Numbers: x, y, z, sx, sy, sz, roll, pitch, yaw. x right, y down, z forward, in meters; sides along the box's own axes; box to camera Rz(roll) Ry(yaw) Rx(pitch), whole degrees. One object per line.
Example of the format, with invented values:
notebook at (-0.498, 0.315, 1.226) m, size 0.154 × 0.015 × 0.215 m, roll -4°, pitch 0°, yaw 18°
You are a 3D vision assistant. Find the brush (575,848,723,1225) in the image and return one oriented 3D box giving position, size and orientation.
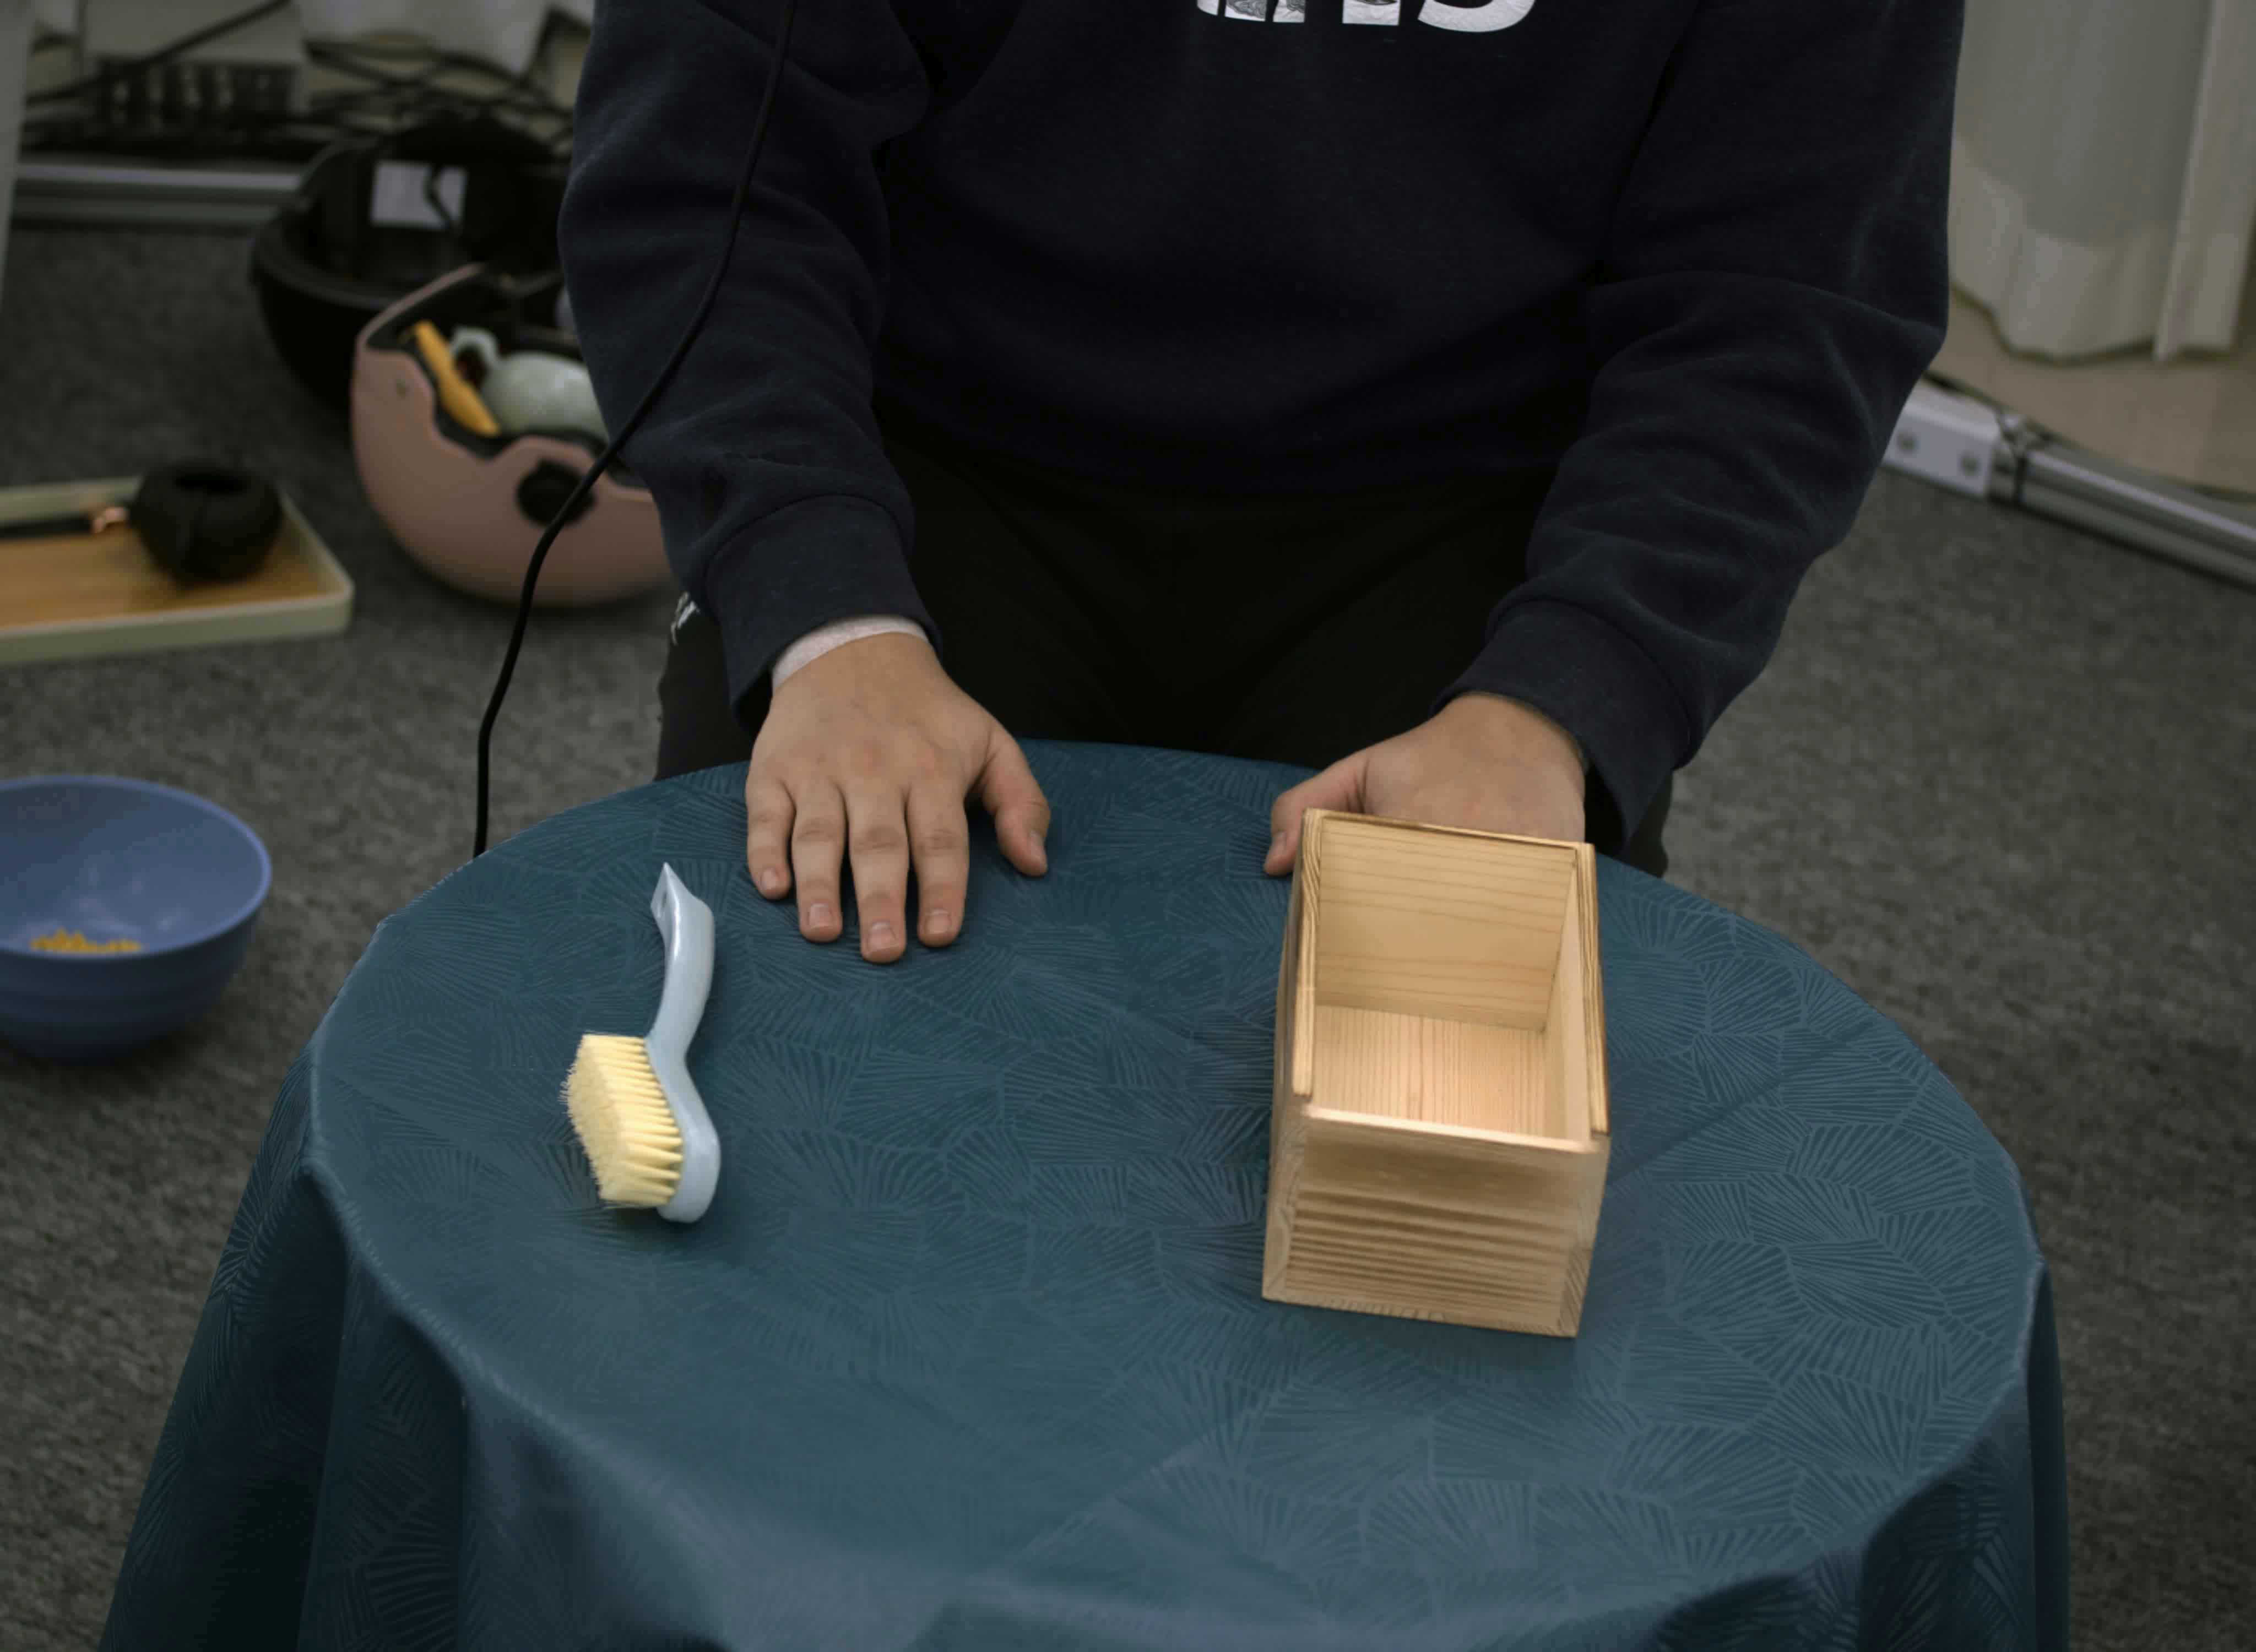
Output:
brush at (-0.166, 0.066, 1.837) m, size 0.049 × 0.037 × 0.230 m, roll 10°, pitch 26°, yaw -10°

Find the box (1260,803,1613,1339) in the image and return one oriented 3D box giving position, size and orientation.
box at (0.106, 0.081, 1.828) m, size 0.107 × 0.080 × 0.212 m, roll 7°, pitch 27°, yaw 0°
